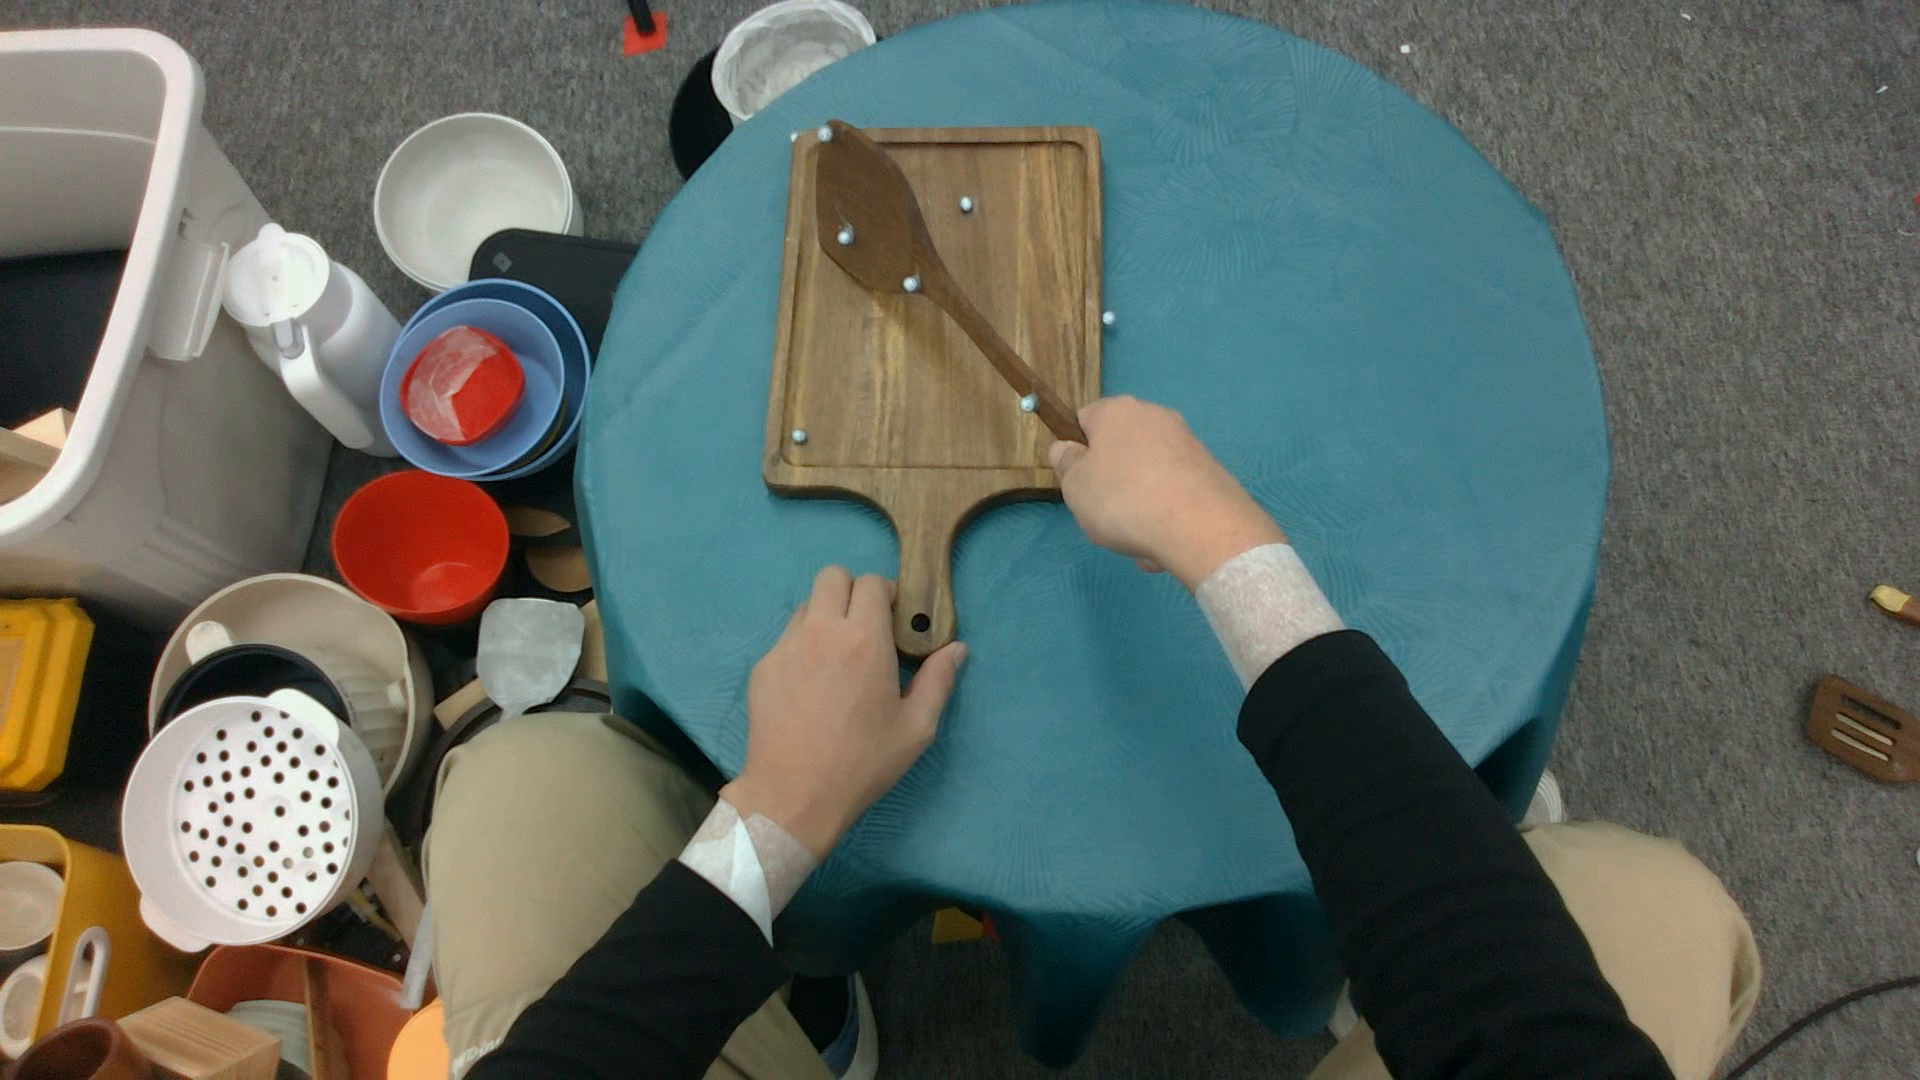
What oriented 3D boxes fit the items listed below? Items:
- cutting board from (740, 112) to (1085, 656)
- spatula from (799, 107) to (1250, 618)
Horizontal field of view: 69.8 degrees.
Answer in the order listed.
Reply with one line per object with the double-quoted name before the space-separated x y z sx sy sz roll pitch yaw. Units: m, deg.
"cutting board" -0.027 -0.103 0.815 0.201 0.023 0.353 0 69 3
"spatula" 0.020 -0.096 0.735 0.016 0.095 0.386 -25 61 -28
